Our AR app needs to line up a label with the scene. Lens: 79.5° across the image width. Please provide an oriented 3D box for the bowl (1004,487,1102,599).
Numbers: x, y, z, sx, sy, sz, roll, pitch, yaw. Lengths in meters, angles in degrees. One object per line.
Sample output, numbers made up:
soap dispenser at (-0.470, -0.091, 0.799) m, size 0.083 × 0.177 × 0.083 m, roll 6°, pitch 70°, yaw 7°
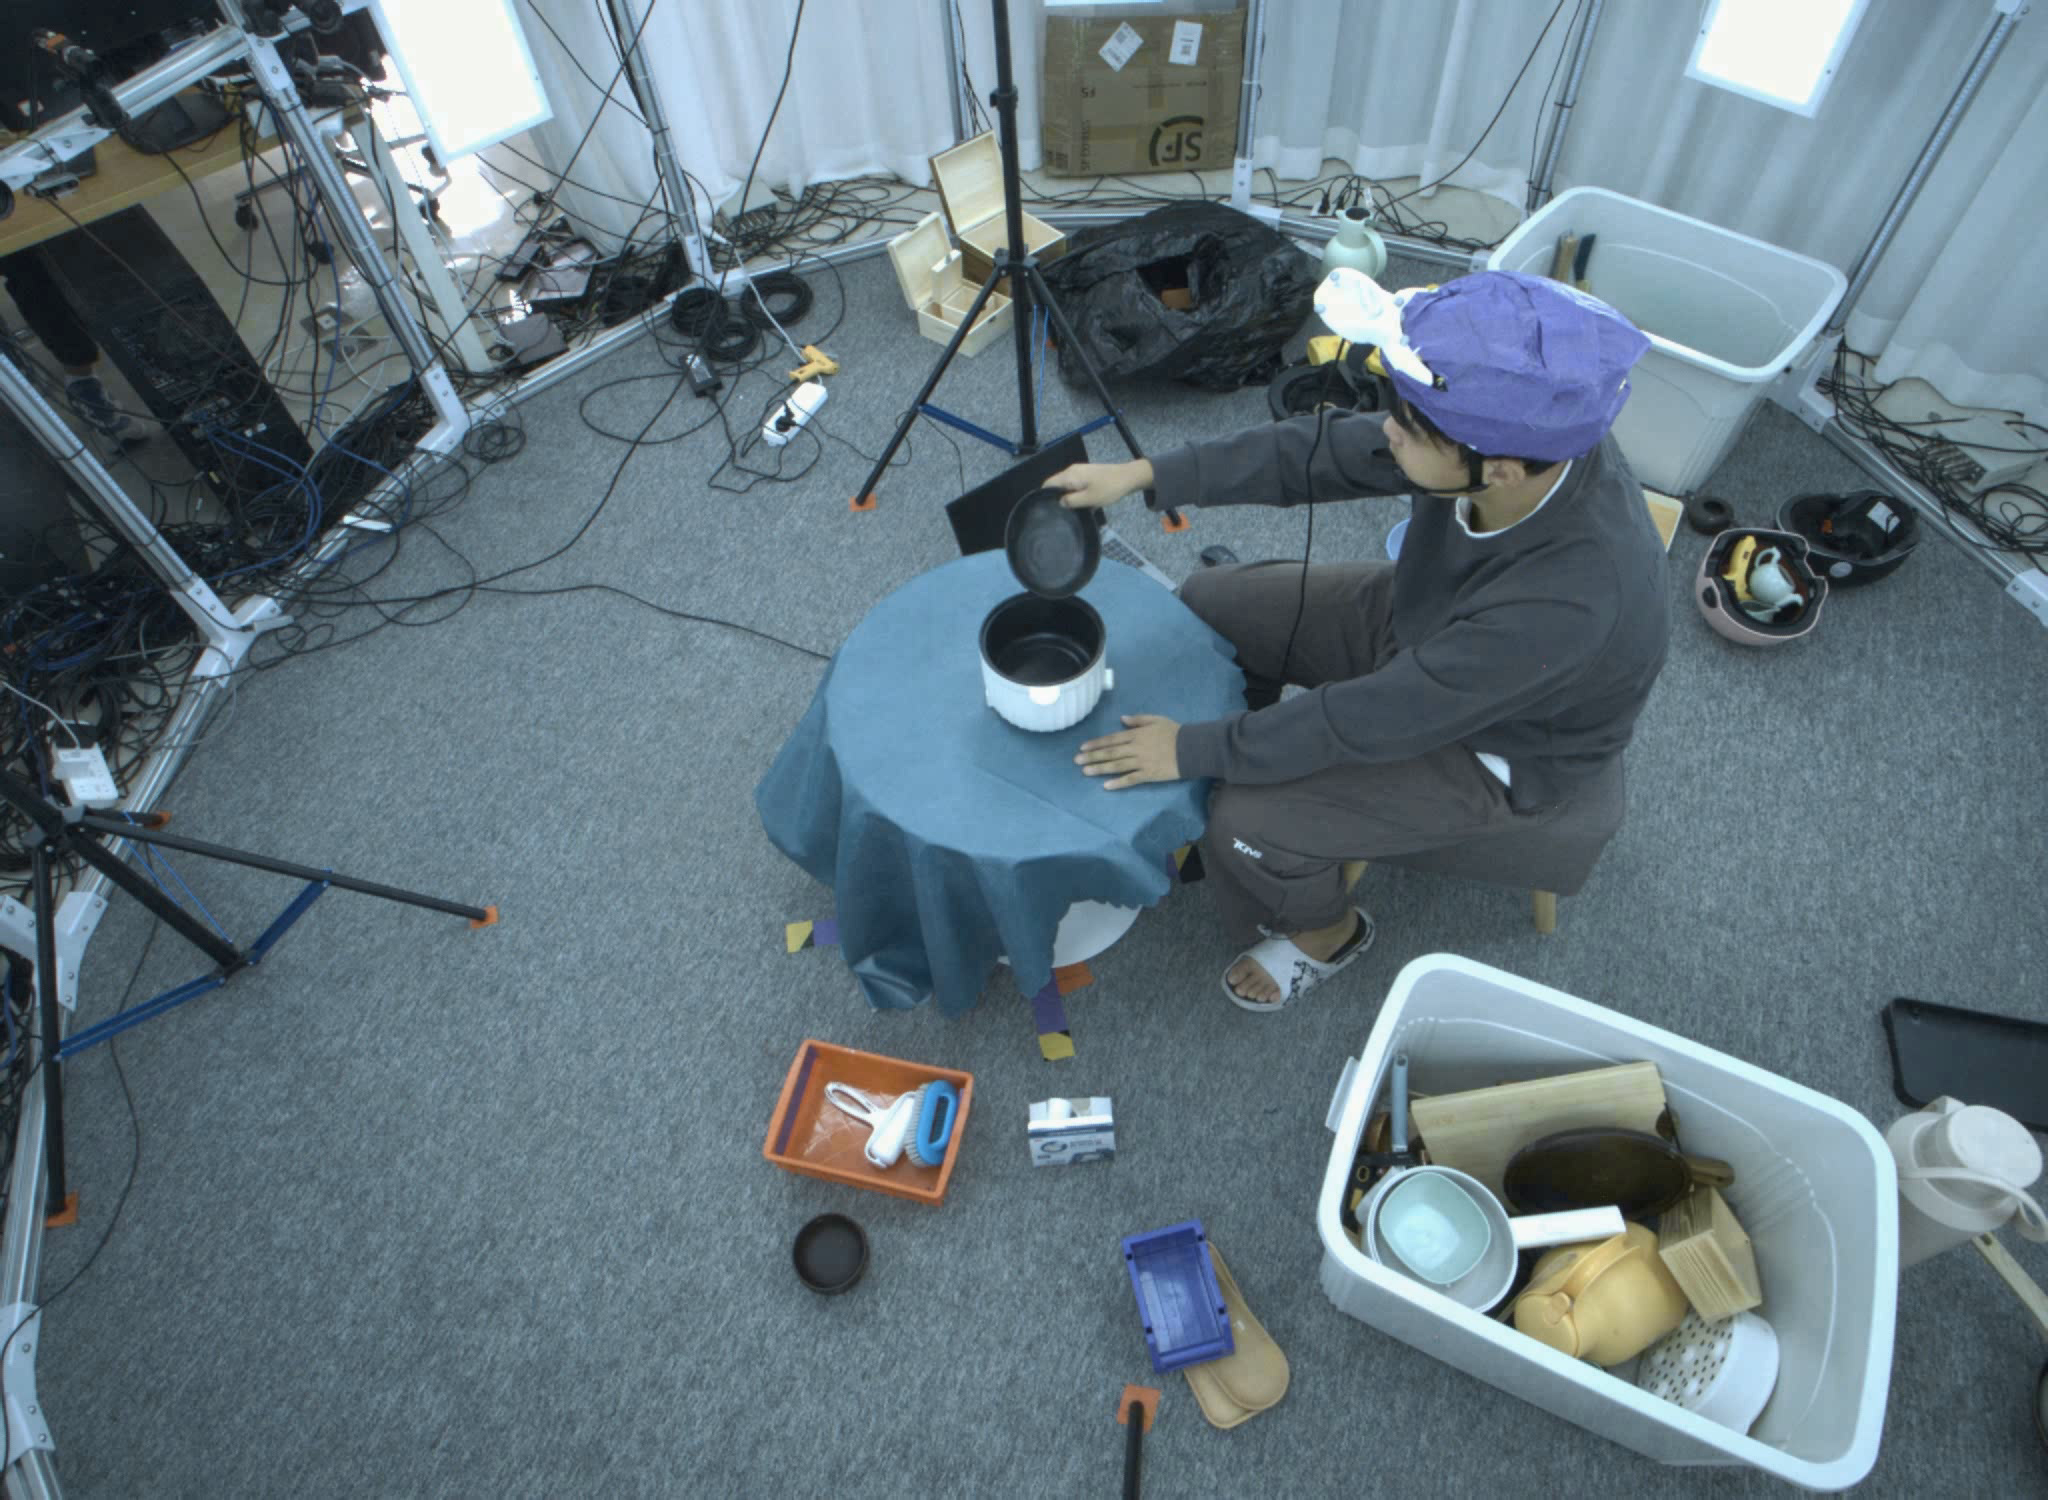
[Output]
bowl at (0.035, -0.287, 1.727) m, size 0.139 × 0.066 × 0.169 m, roll 6°, pitch 78°, yaw -12°

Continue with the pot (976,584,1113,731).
pot at (0.032, -0.125, 1.790) m, size 0.190 × 0.144 × 0.237 m, roll -5°, pitch 56°, yaw 2°
